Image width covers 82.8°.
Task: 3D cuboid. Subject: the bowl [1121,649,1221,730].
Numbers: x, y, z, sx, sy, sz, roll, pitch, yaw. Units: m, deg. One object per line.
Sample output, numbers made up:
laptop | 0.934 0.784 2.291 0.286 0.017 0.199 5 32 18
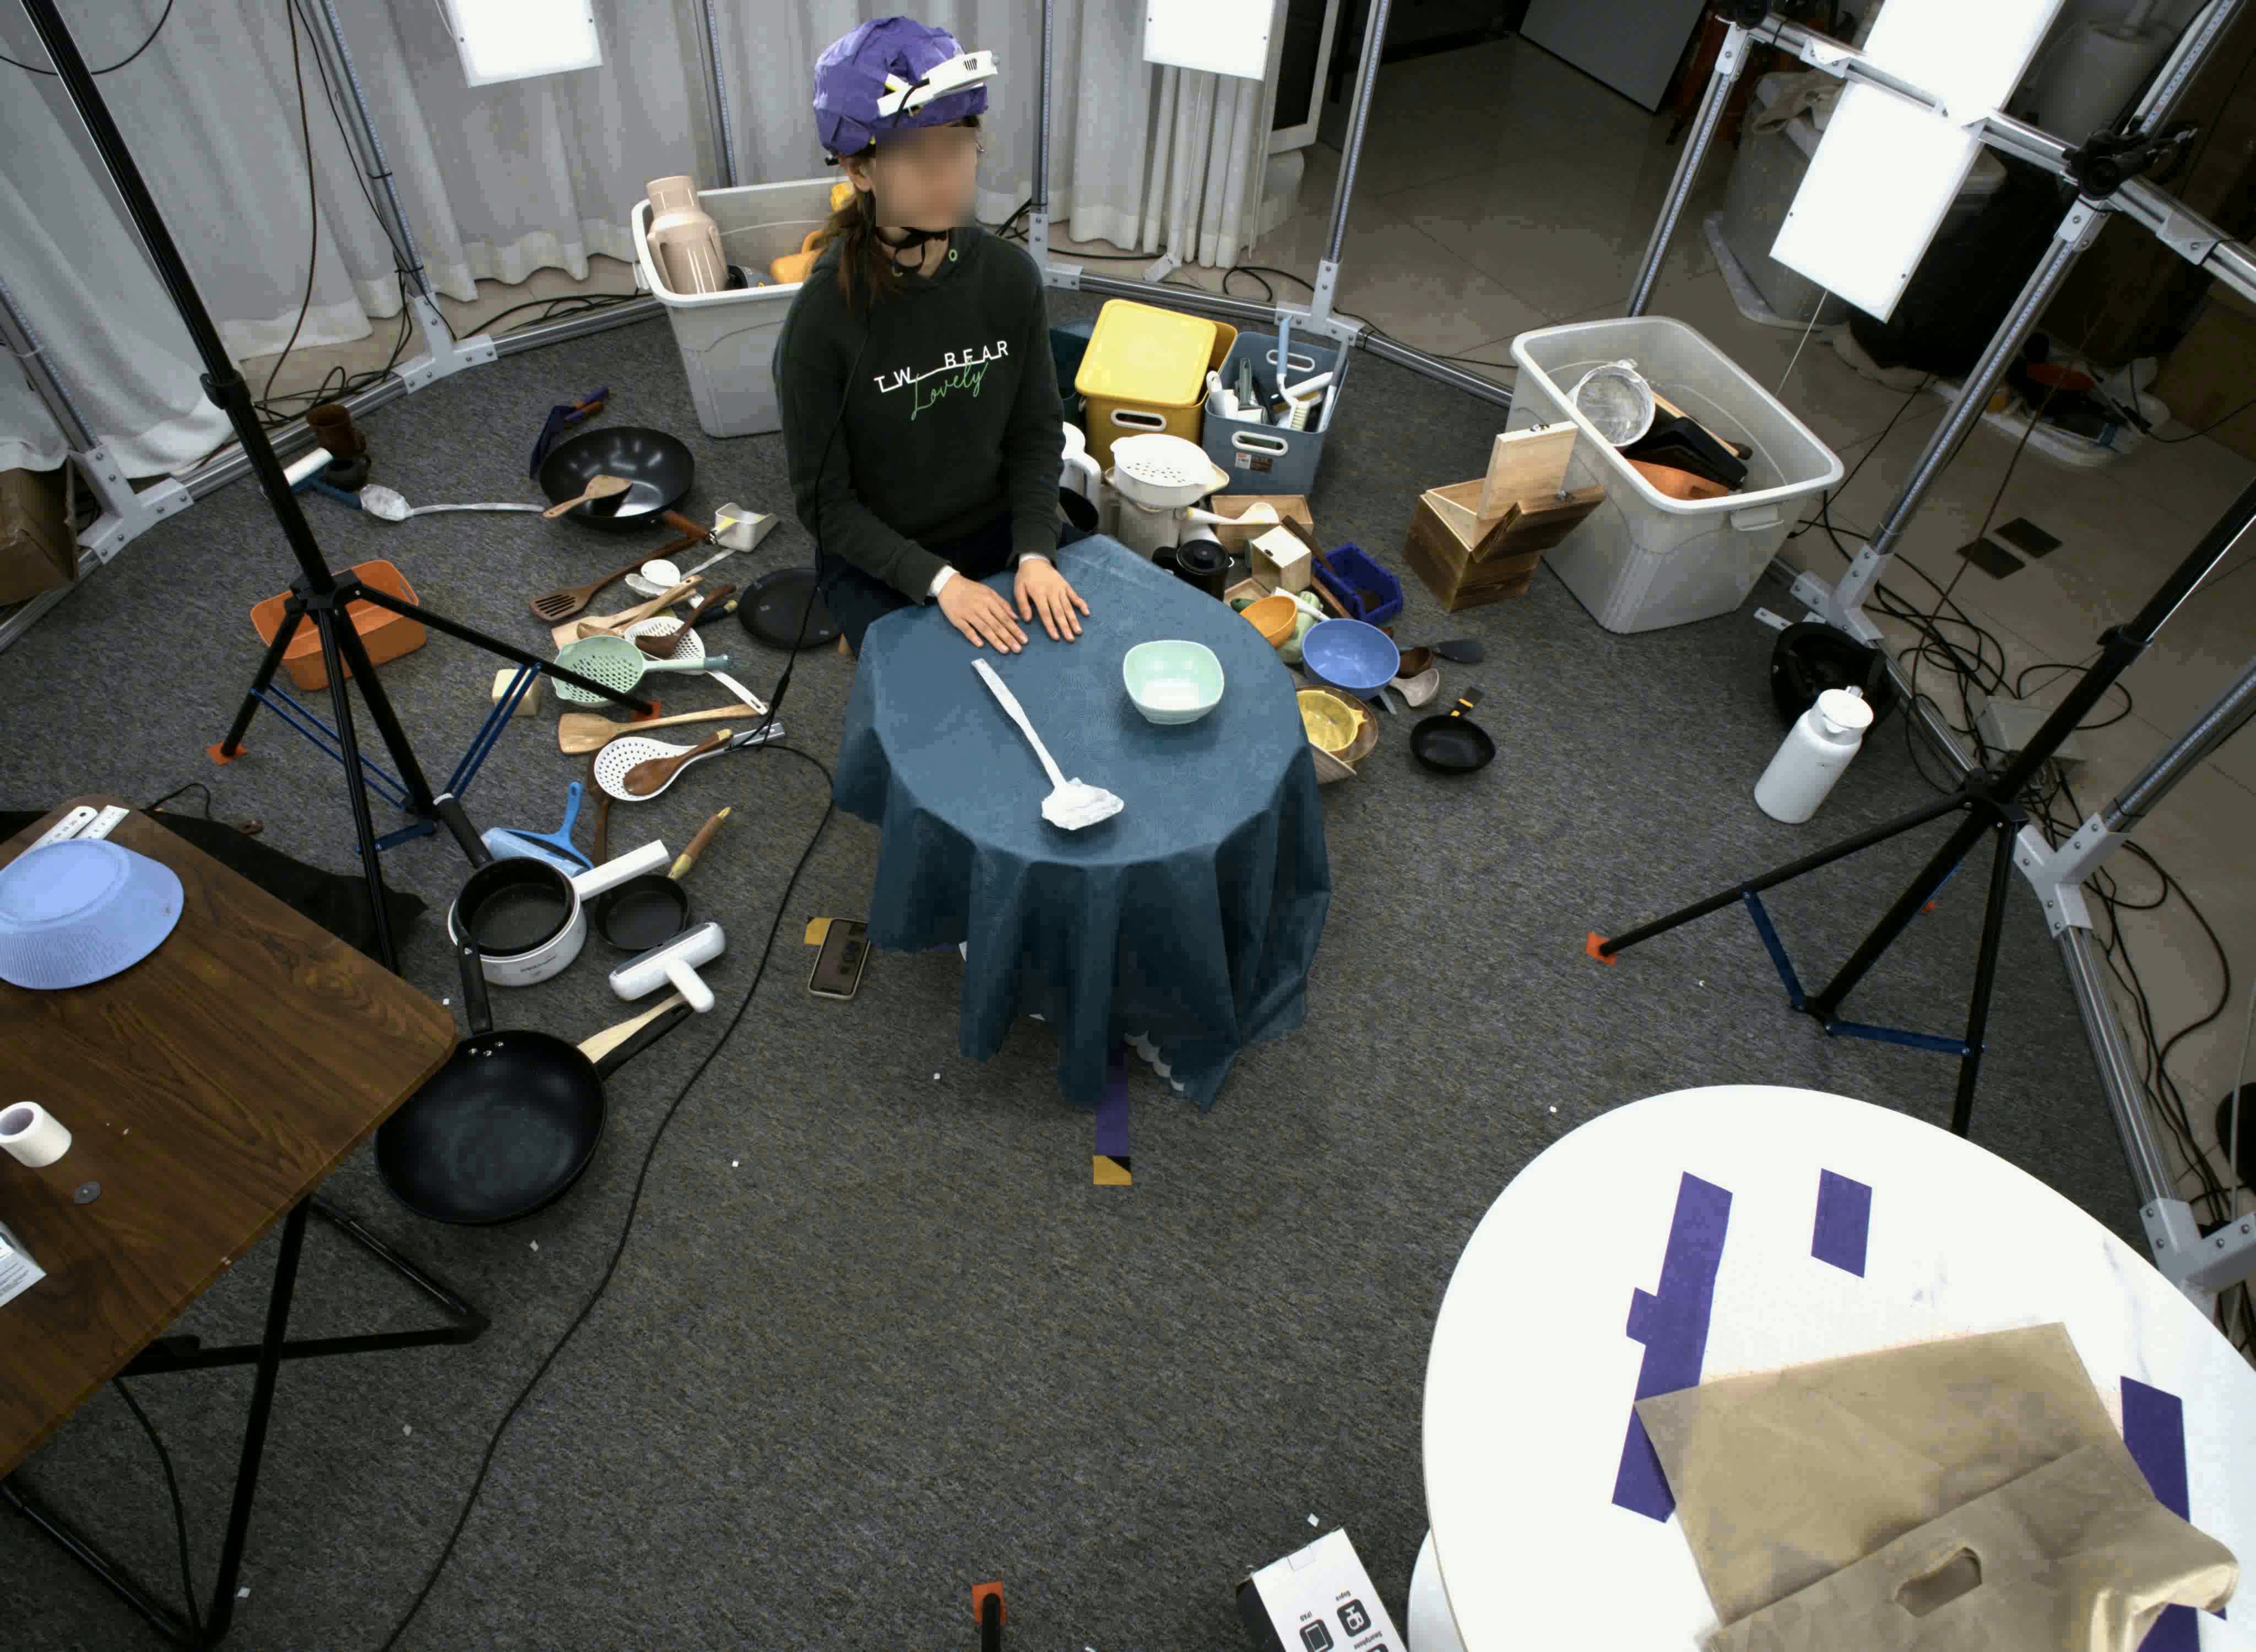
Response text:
bowl | 0.059 -0.186 1.822 0.151 0.057 0.155 2 44 -2

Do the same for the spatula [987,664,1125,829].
spatula | -0.121 -0.119 1.754 0.099 0.043 0.373 -20 53 -18
